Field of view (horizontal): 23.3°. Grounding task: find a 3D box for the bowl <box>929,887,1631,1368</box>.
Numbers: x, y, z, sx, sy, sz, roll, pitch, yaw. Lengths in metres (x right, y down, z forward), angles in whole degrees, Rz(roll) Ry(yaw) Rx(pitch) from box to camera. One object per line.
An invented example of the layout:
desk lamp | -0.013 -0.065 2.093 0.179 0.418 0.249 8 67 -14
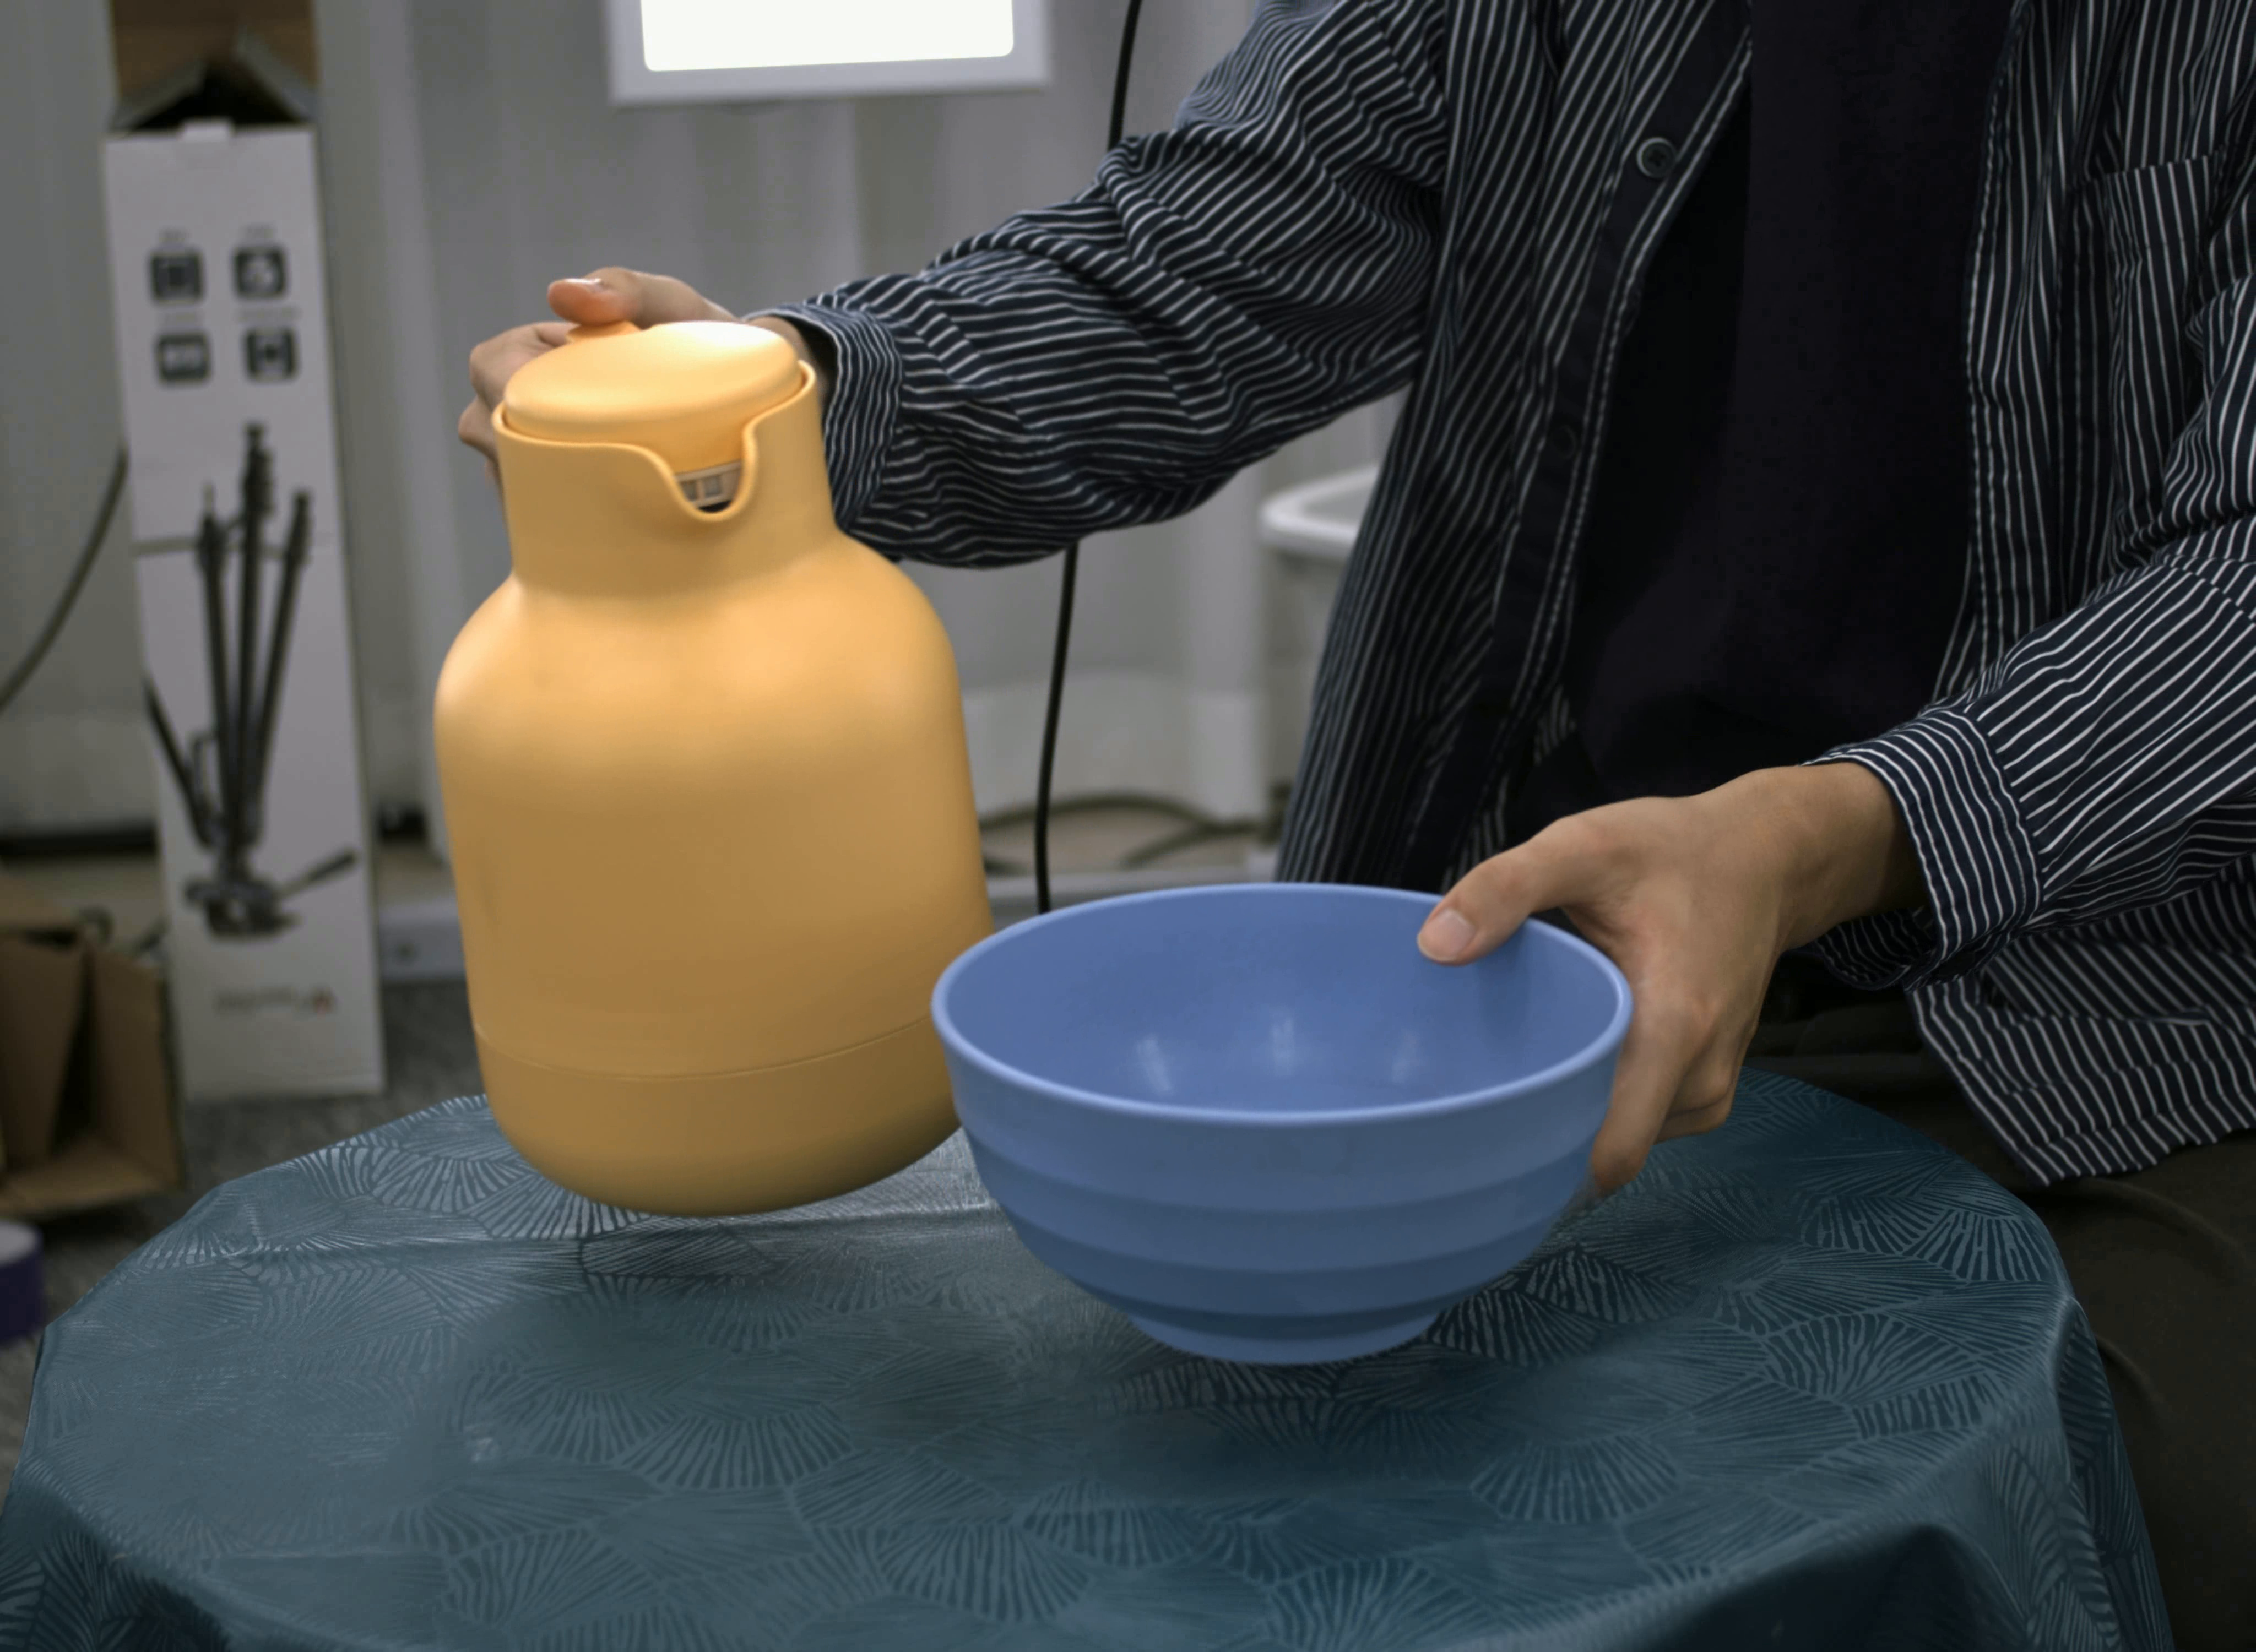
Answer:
bowl | 0.043 0.091 1.540 0.196 0.095 0.198 -1 17 0

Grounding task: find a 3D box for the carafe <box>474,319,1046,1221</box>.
carafe | -0.121 -0.027 1.676 0.163 0.259 0.204 -13 21 -15
